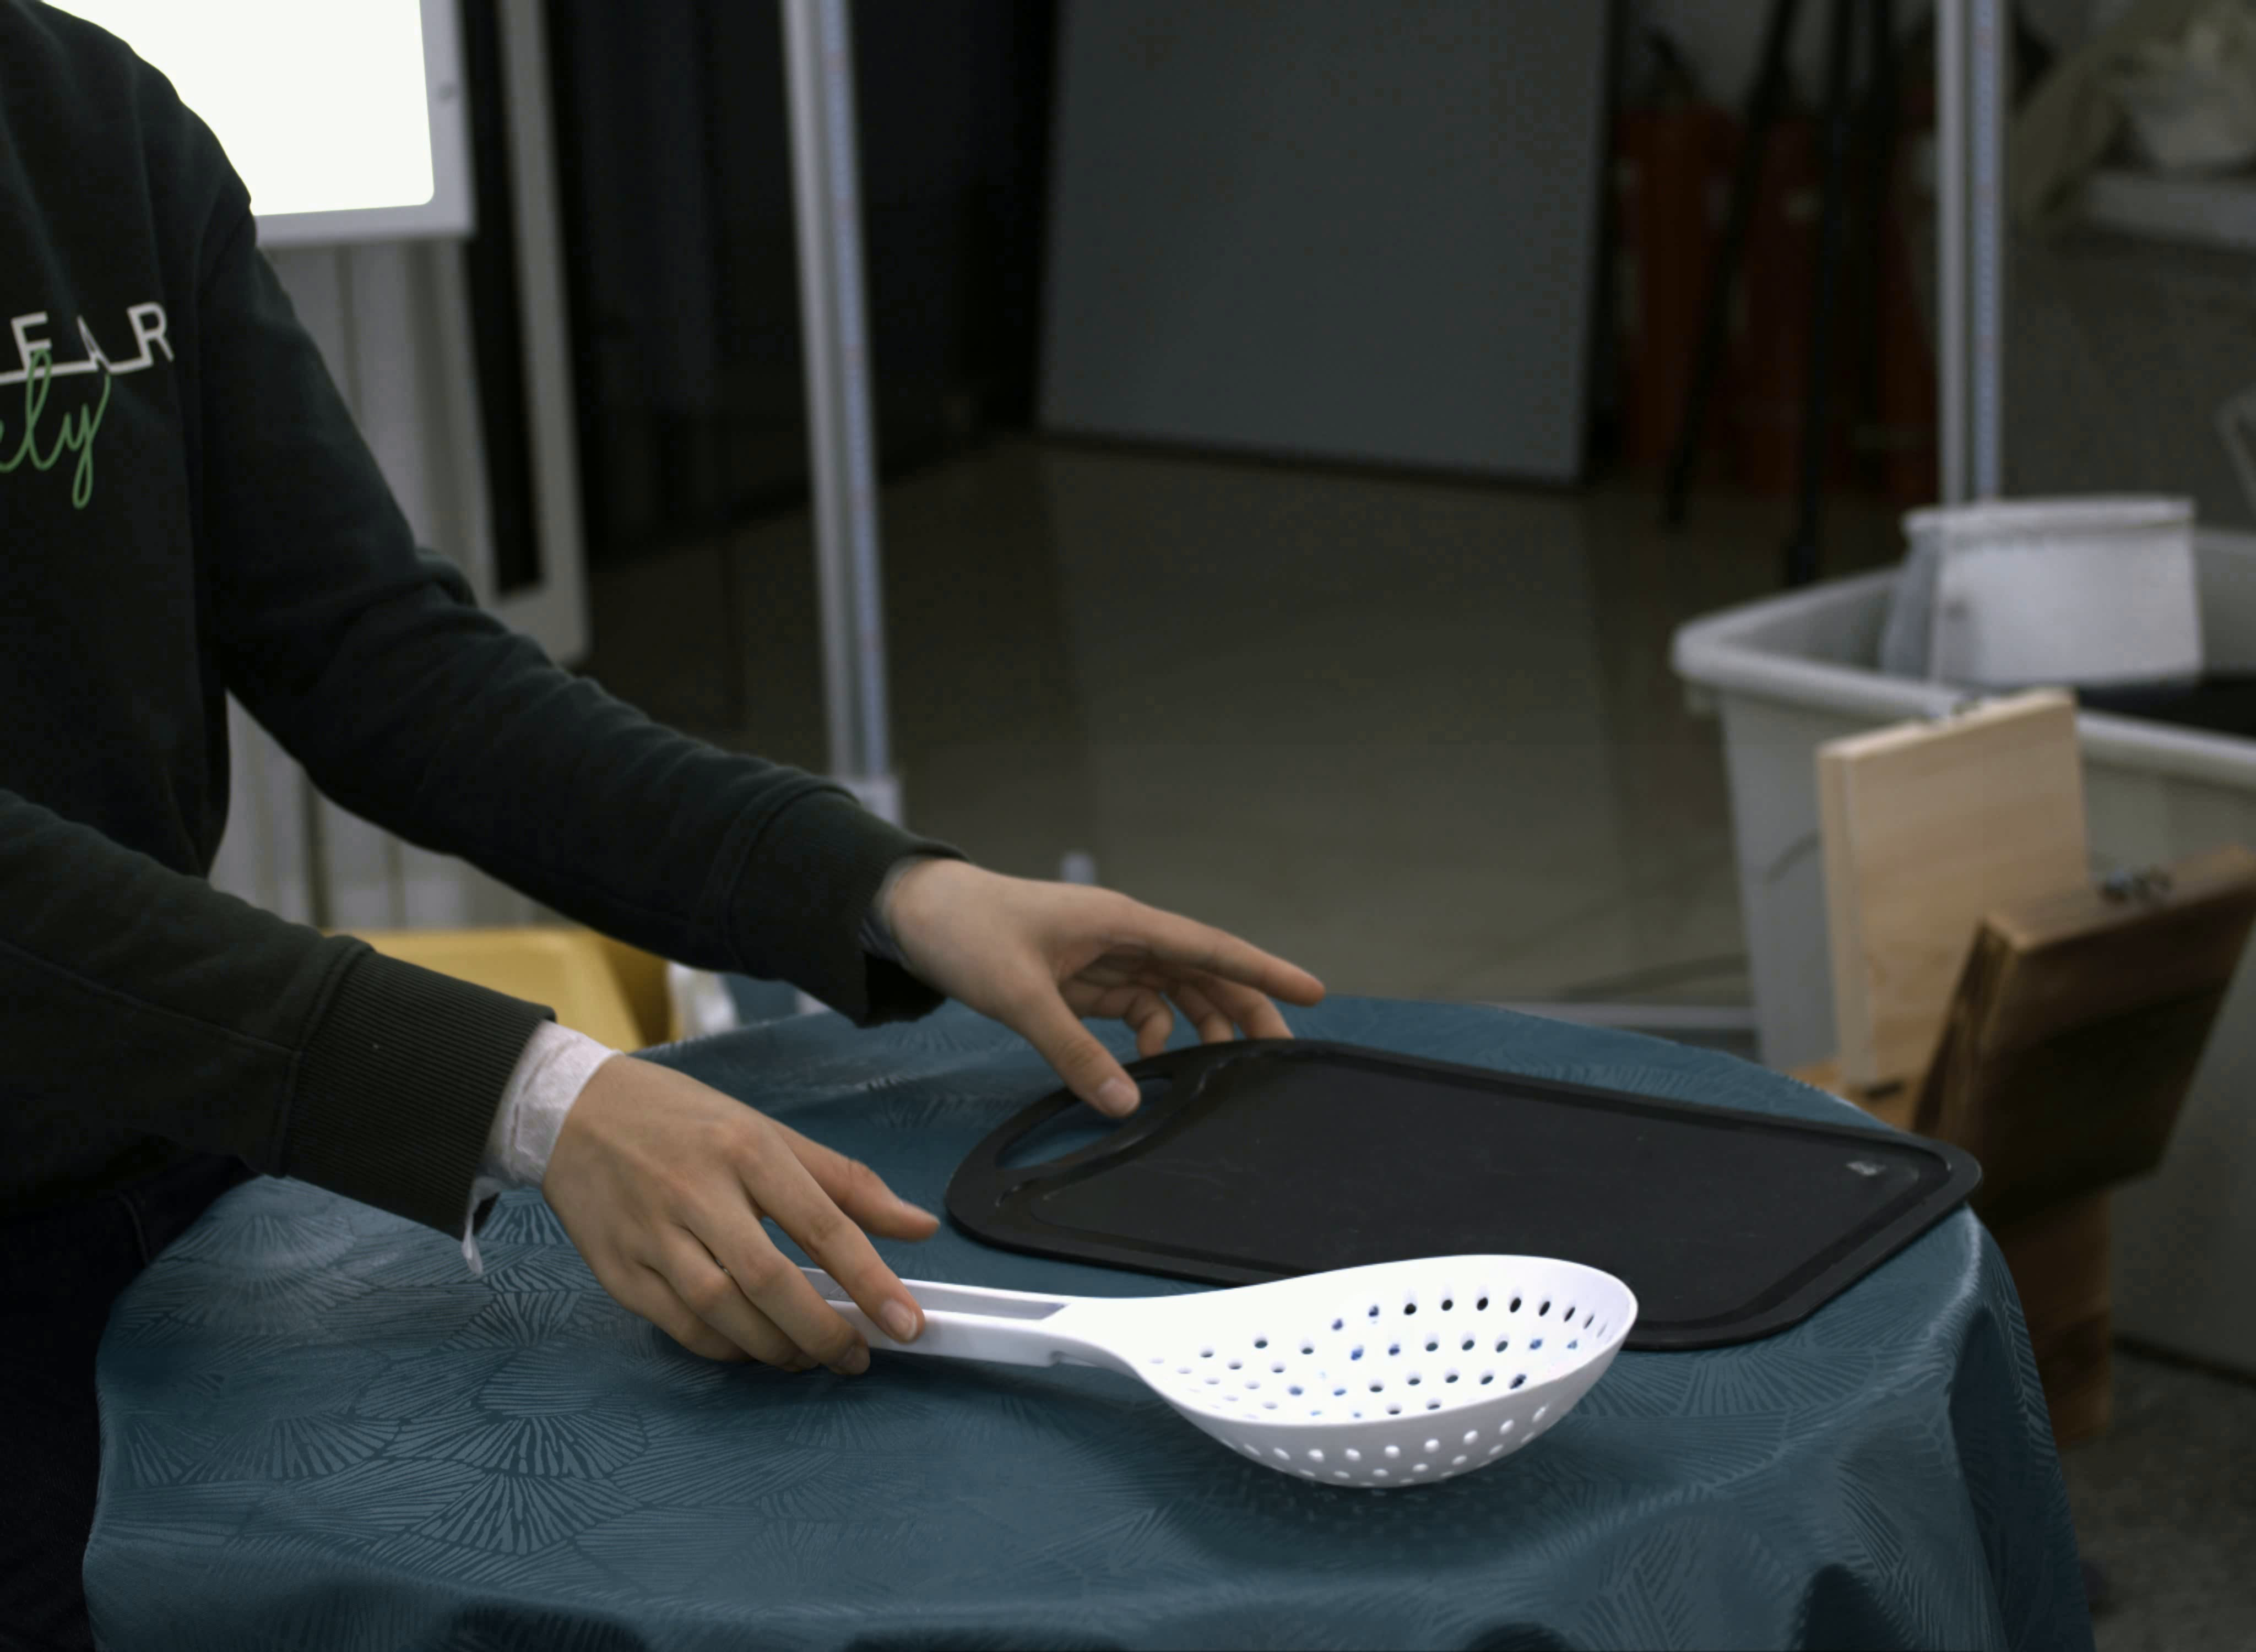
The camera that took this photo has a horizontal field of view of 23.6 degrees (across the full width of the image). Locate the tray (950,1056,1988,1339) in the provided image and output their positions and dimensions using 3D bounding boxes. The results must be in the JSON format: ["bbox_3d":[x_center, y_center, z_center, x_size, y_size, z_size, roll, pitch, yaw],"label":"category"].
[{"bbox_3d":[0.102,0.115,1.742,0.327,0.010,0.207,6,18,34],"label":"tray"}]

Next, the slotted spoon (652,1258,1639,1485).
[{"bbox_3d":[-0.007,0.148,1.570,0.352,0.046,0.133,6,18,39],"label":"slotted spoon"}]
